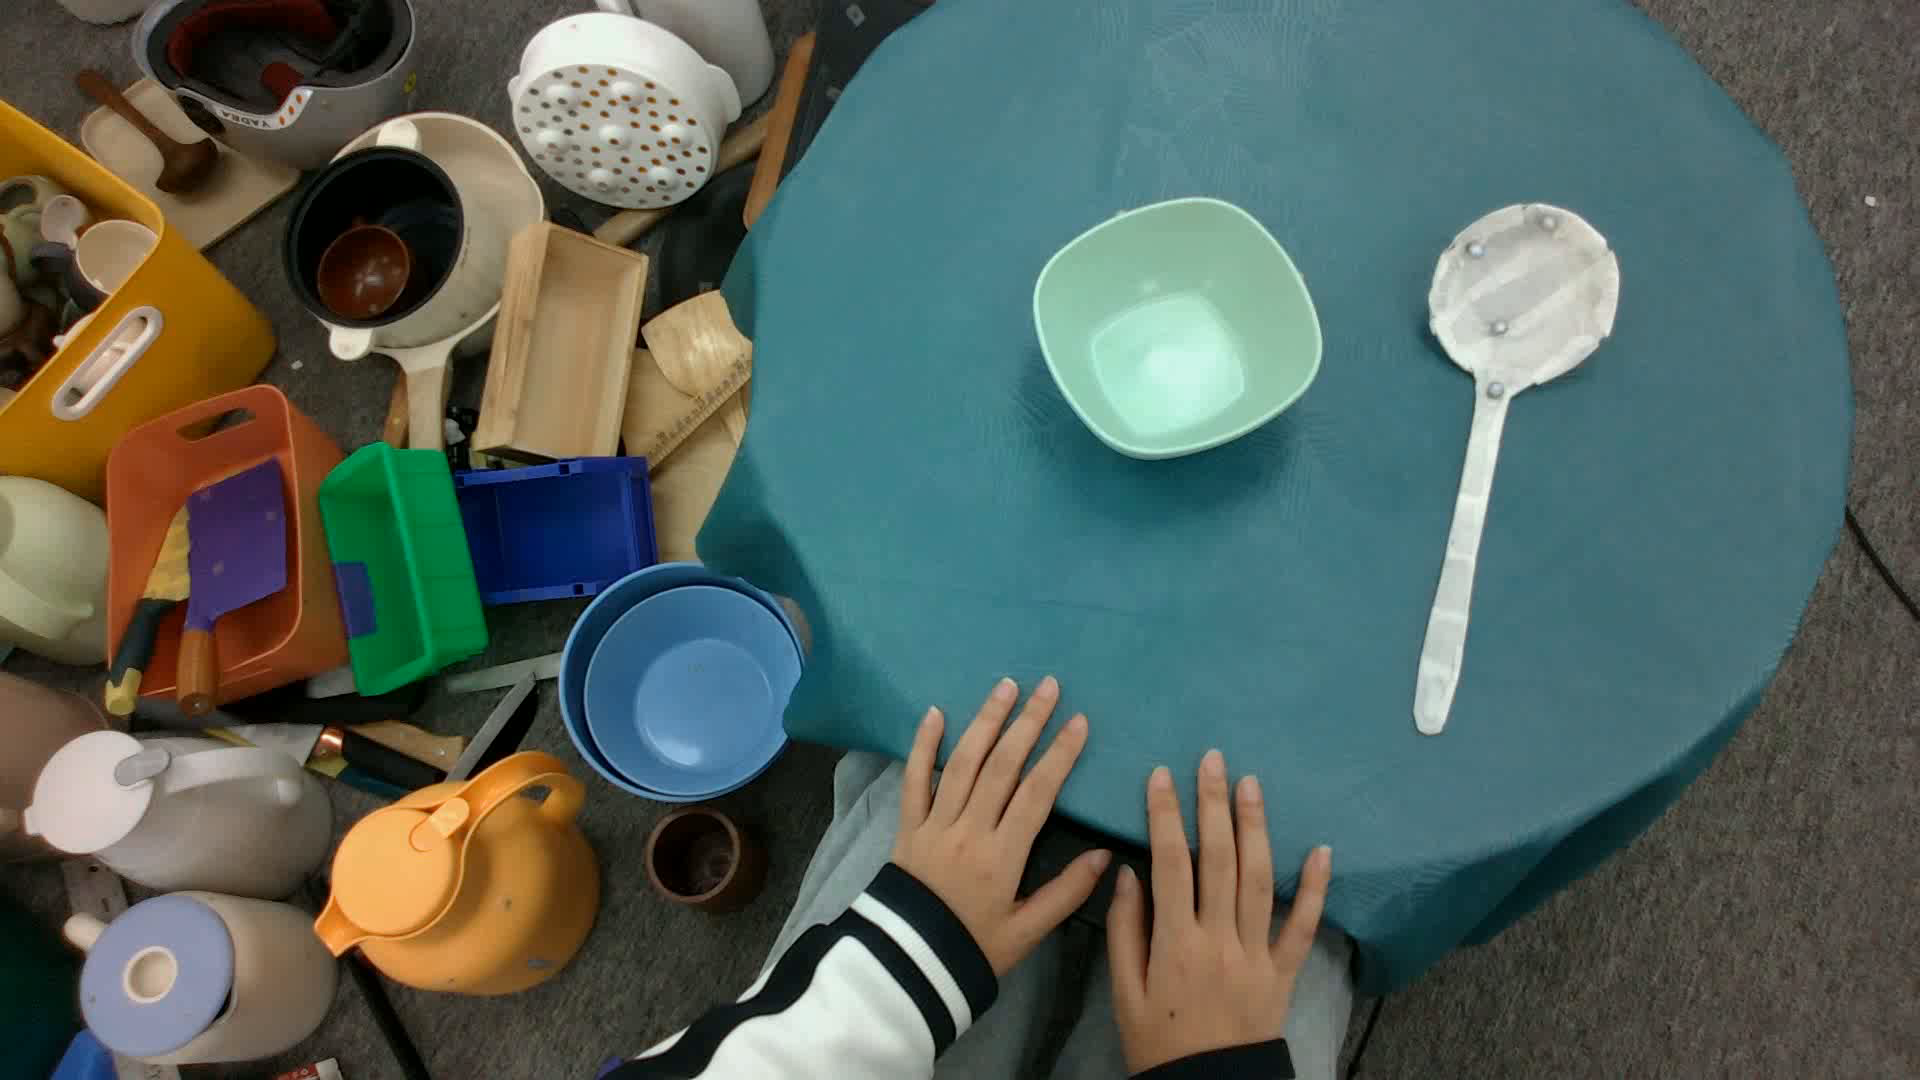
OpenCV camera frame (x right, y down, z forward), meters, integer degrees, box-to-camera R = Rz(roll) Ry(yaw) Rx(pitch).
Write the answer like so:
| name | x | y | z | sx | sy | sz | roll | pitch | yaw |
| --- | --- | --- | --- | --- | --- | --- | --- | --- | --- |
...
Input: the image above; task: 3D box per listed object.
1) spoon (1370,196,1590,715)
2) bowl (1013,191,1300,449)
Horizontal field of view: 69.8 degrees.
| name | x | y | z | sx | sy | sz | roll | pitch | yaw |
| --- | --- | --- | --- | --- | --- | --- | --- | --- | --- |
| spoon | 0.250 | -0.047 | 0.706 | 0.100 | 0.059 | 0.278 | 16 | 72 | 12 |
| bowl | 0.102 | -0.108 | 0.735 | 0.151 | 0.058 | 0.152 | -1 | 70 | 2 |
